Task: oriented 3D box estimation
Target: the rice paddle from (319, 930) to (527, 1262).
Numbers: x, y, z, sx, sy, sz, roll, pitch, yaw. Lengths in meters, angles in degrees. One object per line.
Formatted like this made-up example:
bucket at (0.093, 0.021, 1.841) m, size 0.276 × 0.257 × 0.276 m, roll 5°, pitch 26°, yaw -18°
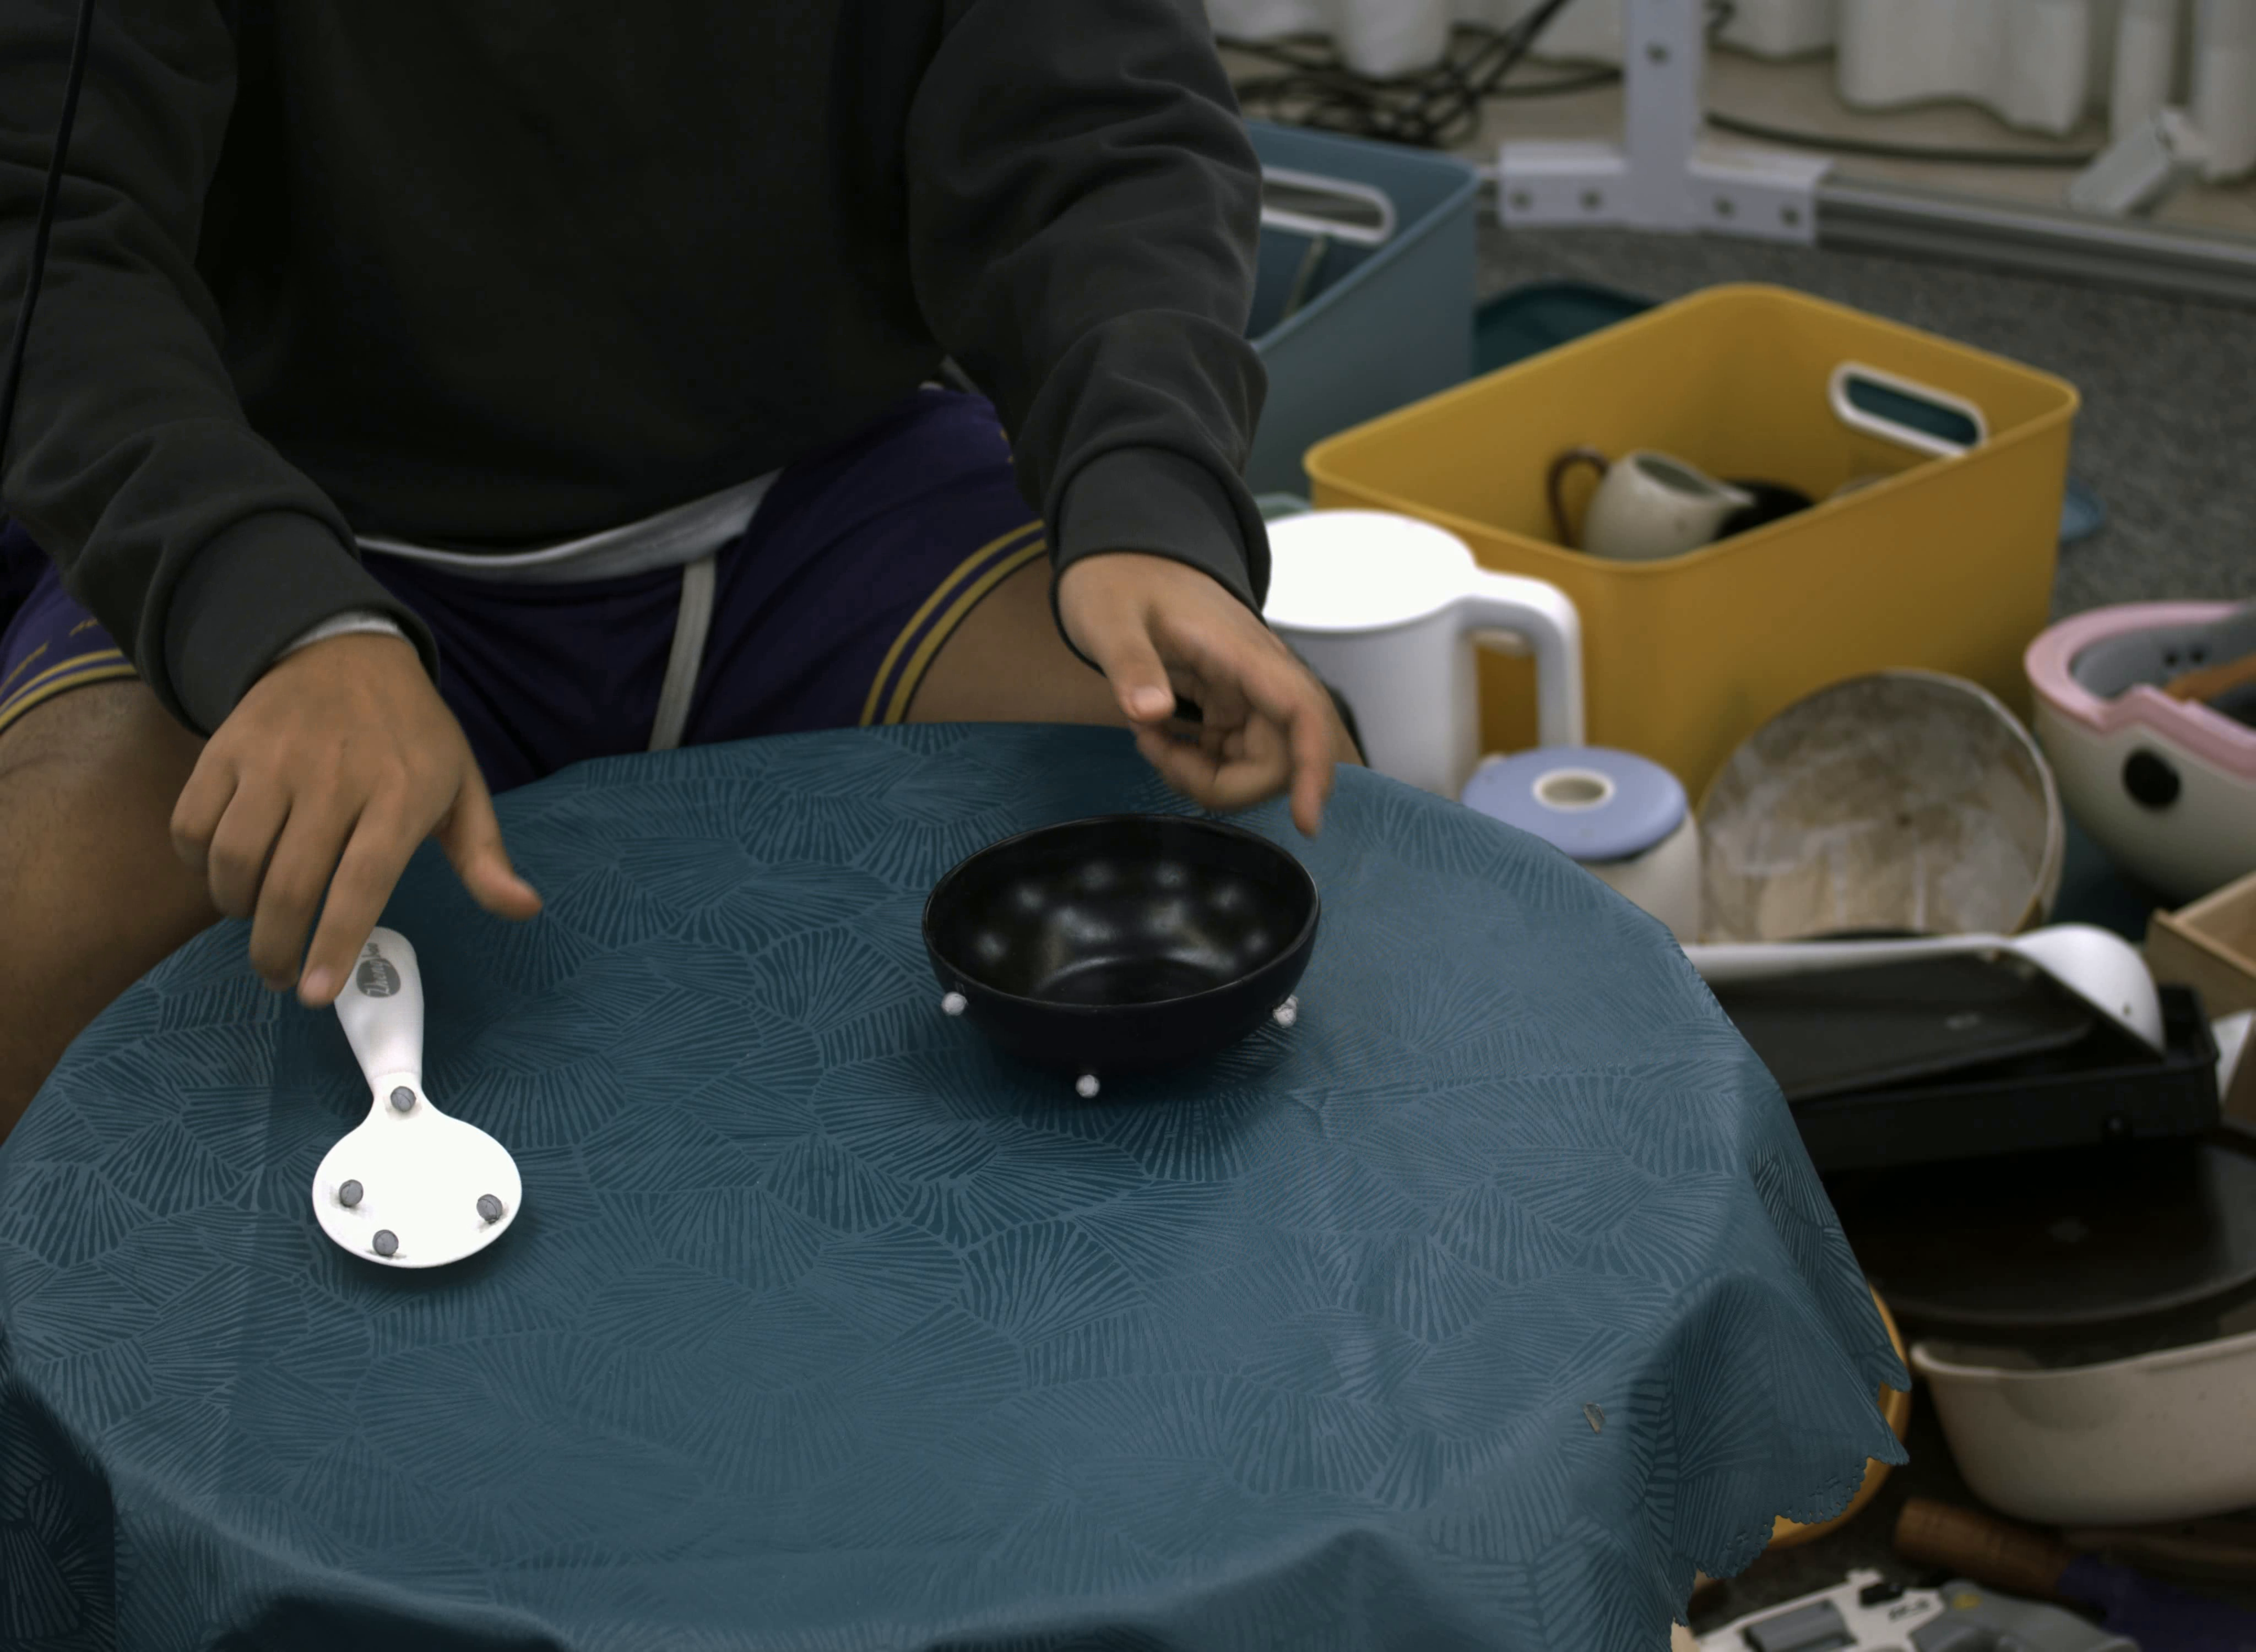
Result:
rice paddle at (-0.247, 0.094, 1.908) m, size 0.069 × 0.029 × 0.207 m, roll -8°, pitch 27°, yaw -11°

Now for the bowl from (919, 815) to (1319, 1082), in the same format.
bowl at (-0.002, 0.050, 1.950) m, size 0.139 × 0.049 × 0.142 m, roll -3°, pitch 27°, yaw 2°
